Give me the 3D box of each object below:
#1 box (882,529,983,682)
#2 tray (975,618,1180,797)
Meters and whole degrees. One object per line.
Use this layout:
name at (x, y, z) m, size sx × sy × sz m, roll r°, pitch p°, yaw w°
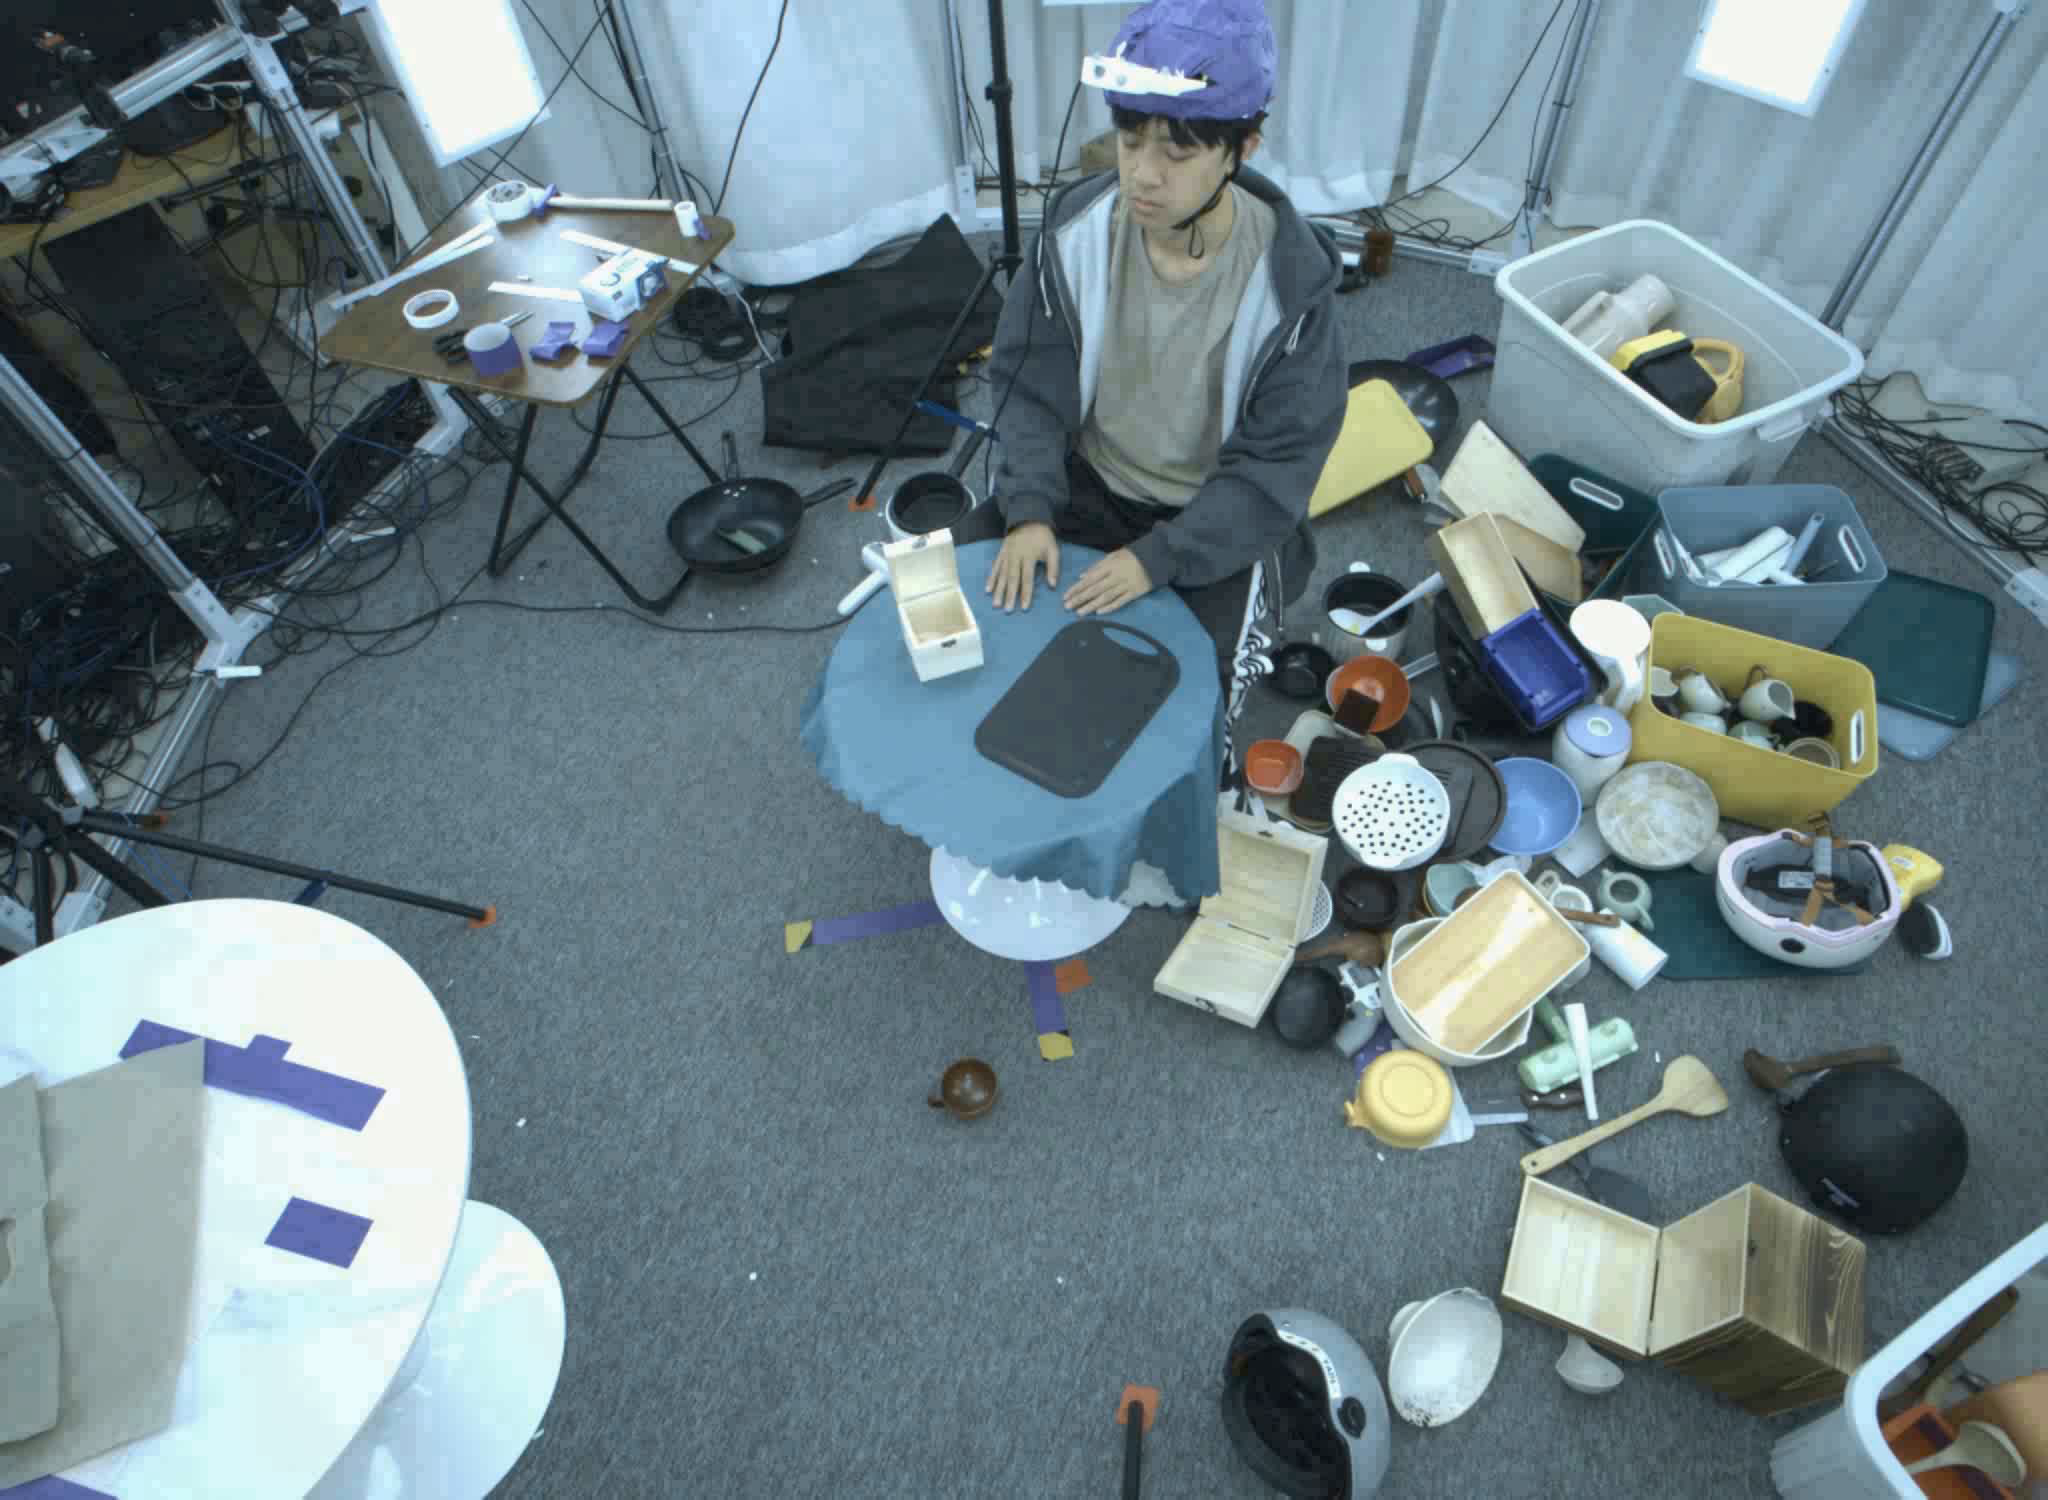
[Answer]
box at (-0.135, -0.215, 1.833) m, size 0.103 × 0.186 × 0.131 m, roll -19°, pitch 55°, yaw -8°
tray at (0.086, -0.077, 1.838) m, size 0.208 × 0.010 × 0.327 m, roll 29°, pitch 60°, yaw 20°
